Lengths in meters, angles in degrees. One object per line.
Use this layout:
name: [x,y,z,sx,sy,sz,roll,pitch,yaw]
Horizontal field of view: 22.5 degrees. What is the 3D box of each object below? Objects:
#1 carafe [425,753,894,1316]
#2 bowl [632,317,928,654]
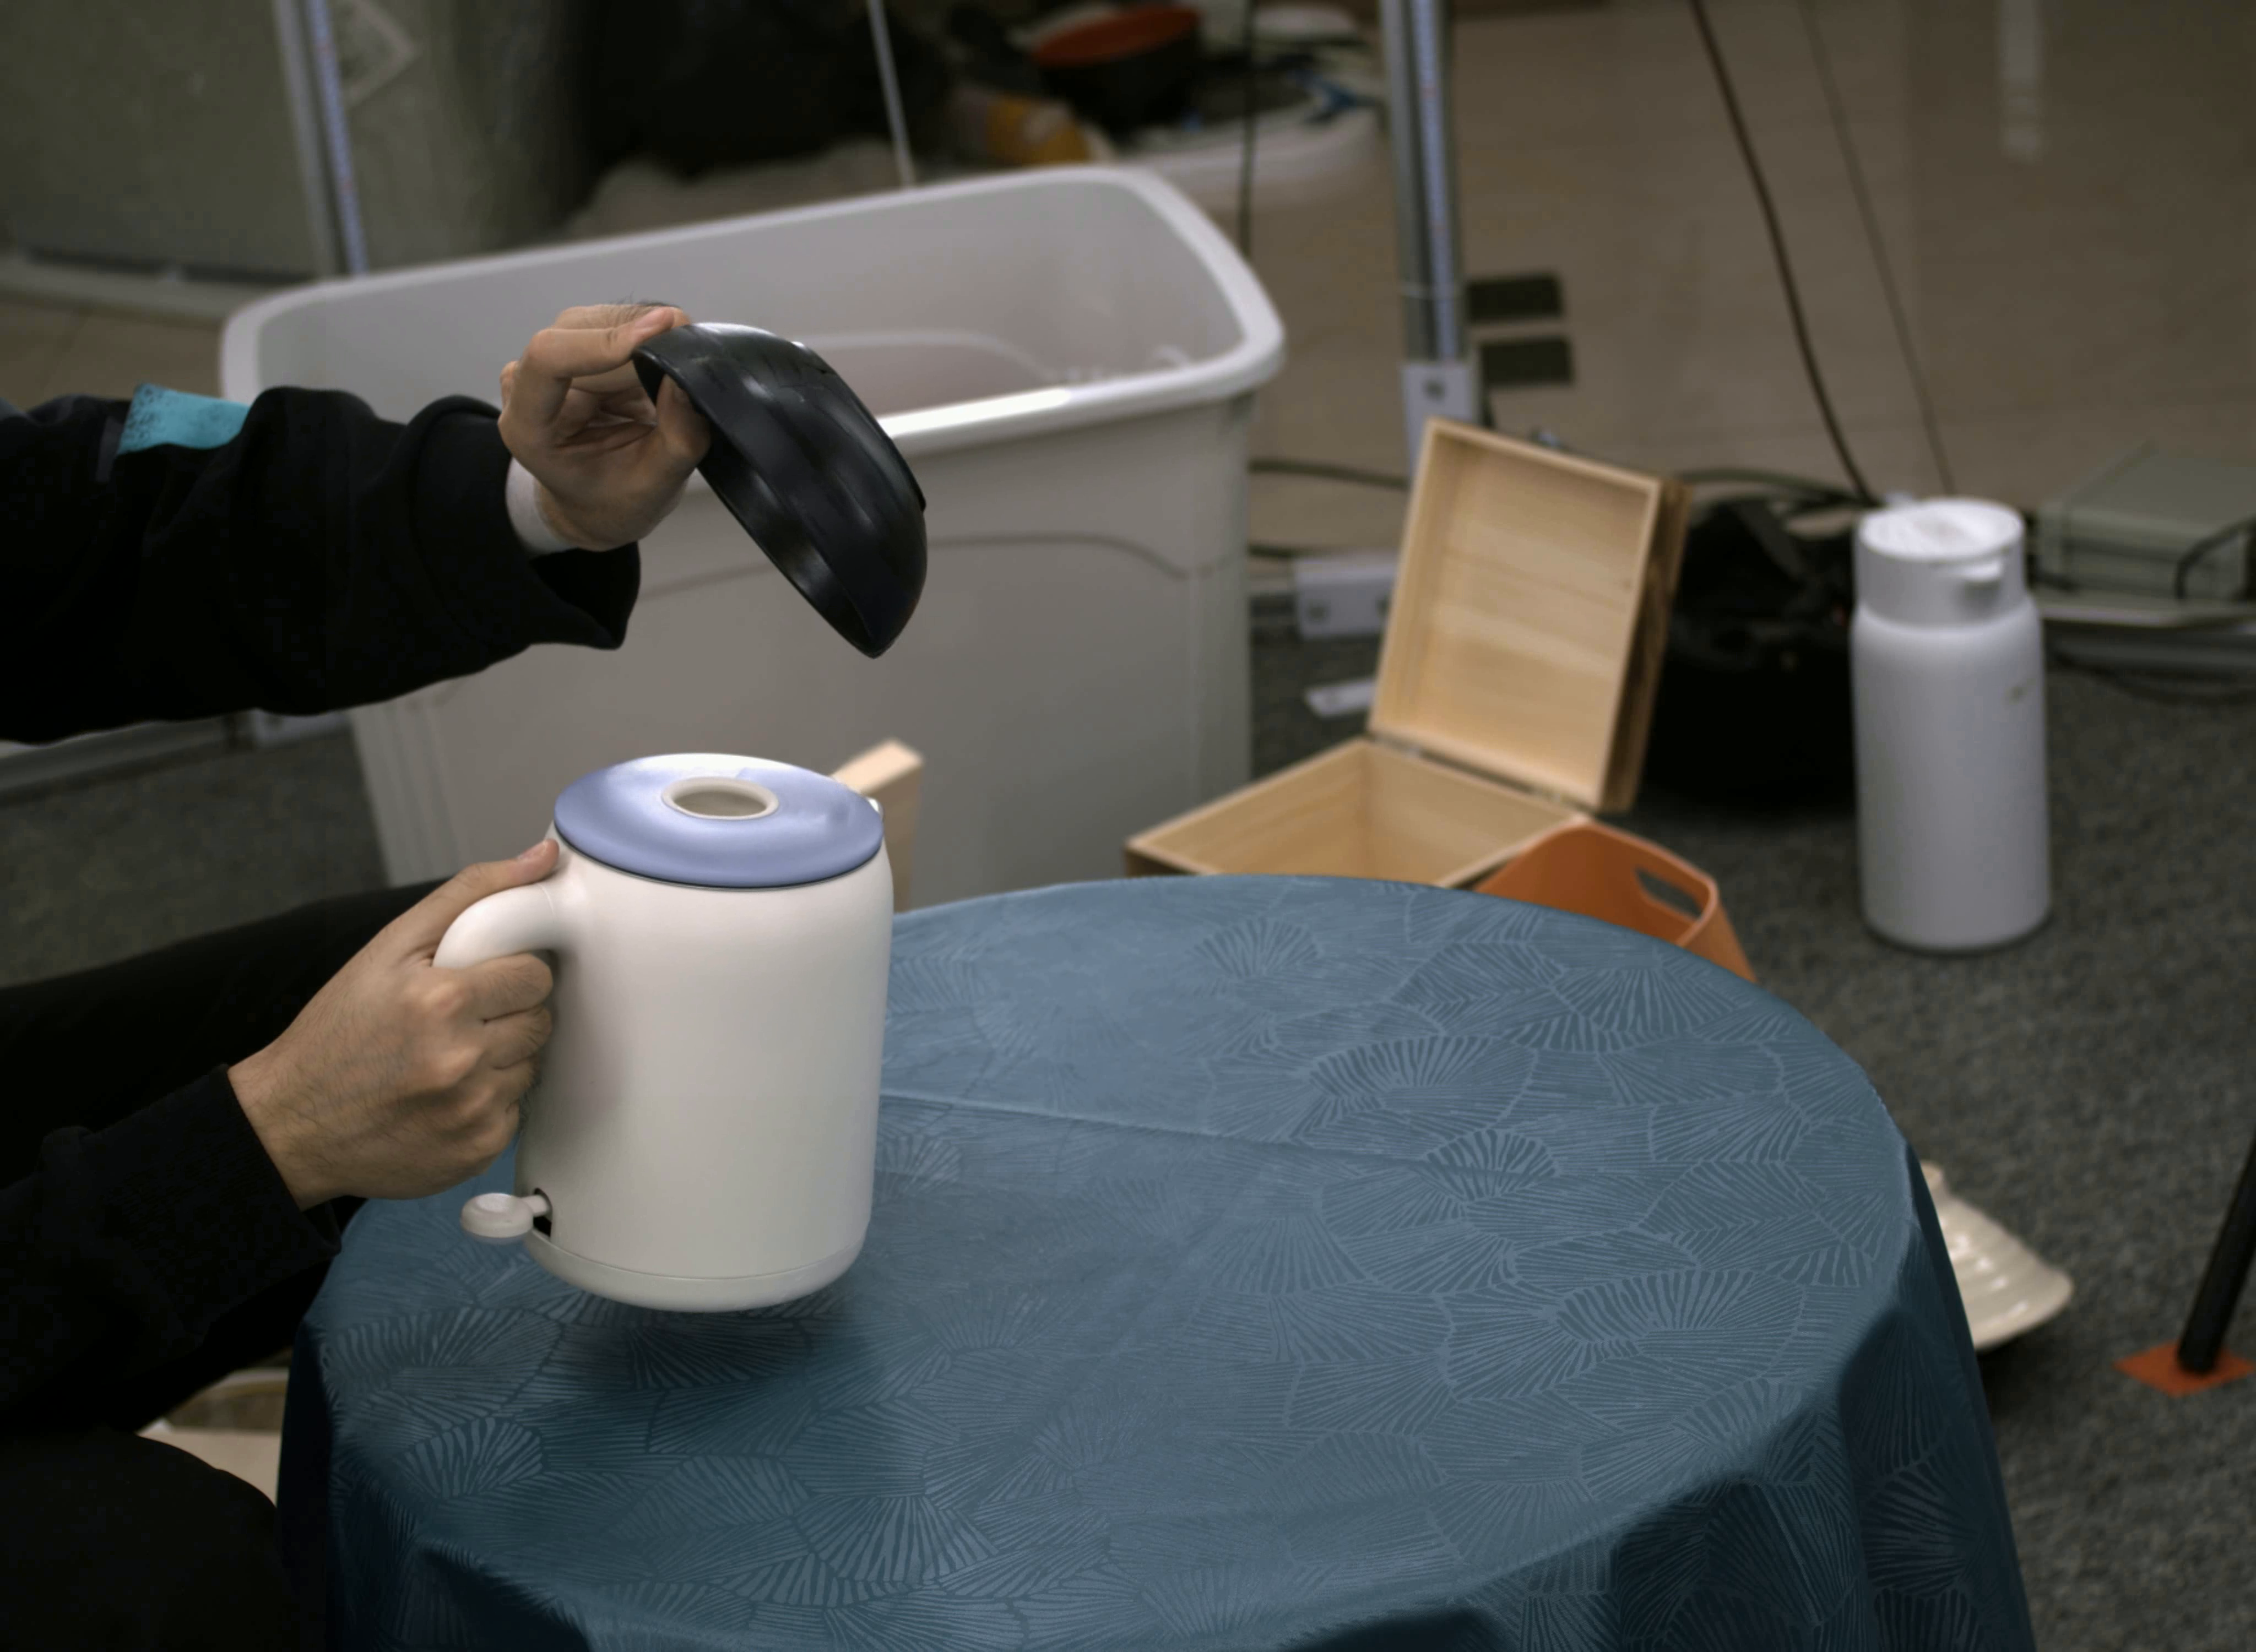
carafe: [-0.171,0.079,2.035,0.190,0.185,0.131,-15,28,-35]
bowl: [-0.113,-0.129,1.984,0.049,0.142,0.138,-39,32,-6]
